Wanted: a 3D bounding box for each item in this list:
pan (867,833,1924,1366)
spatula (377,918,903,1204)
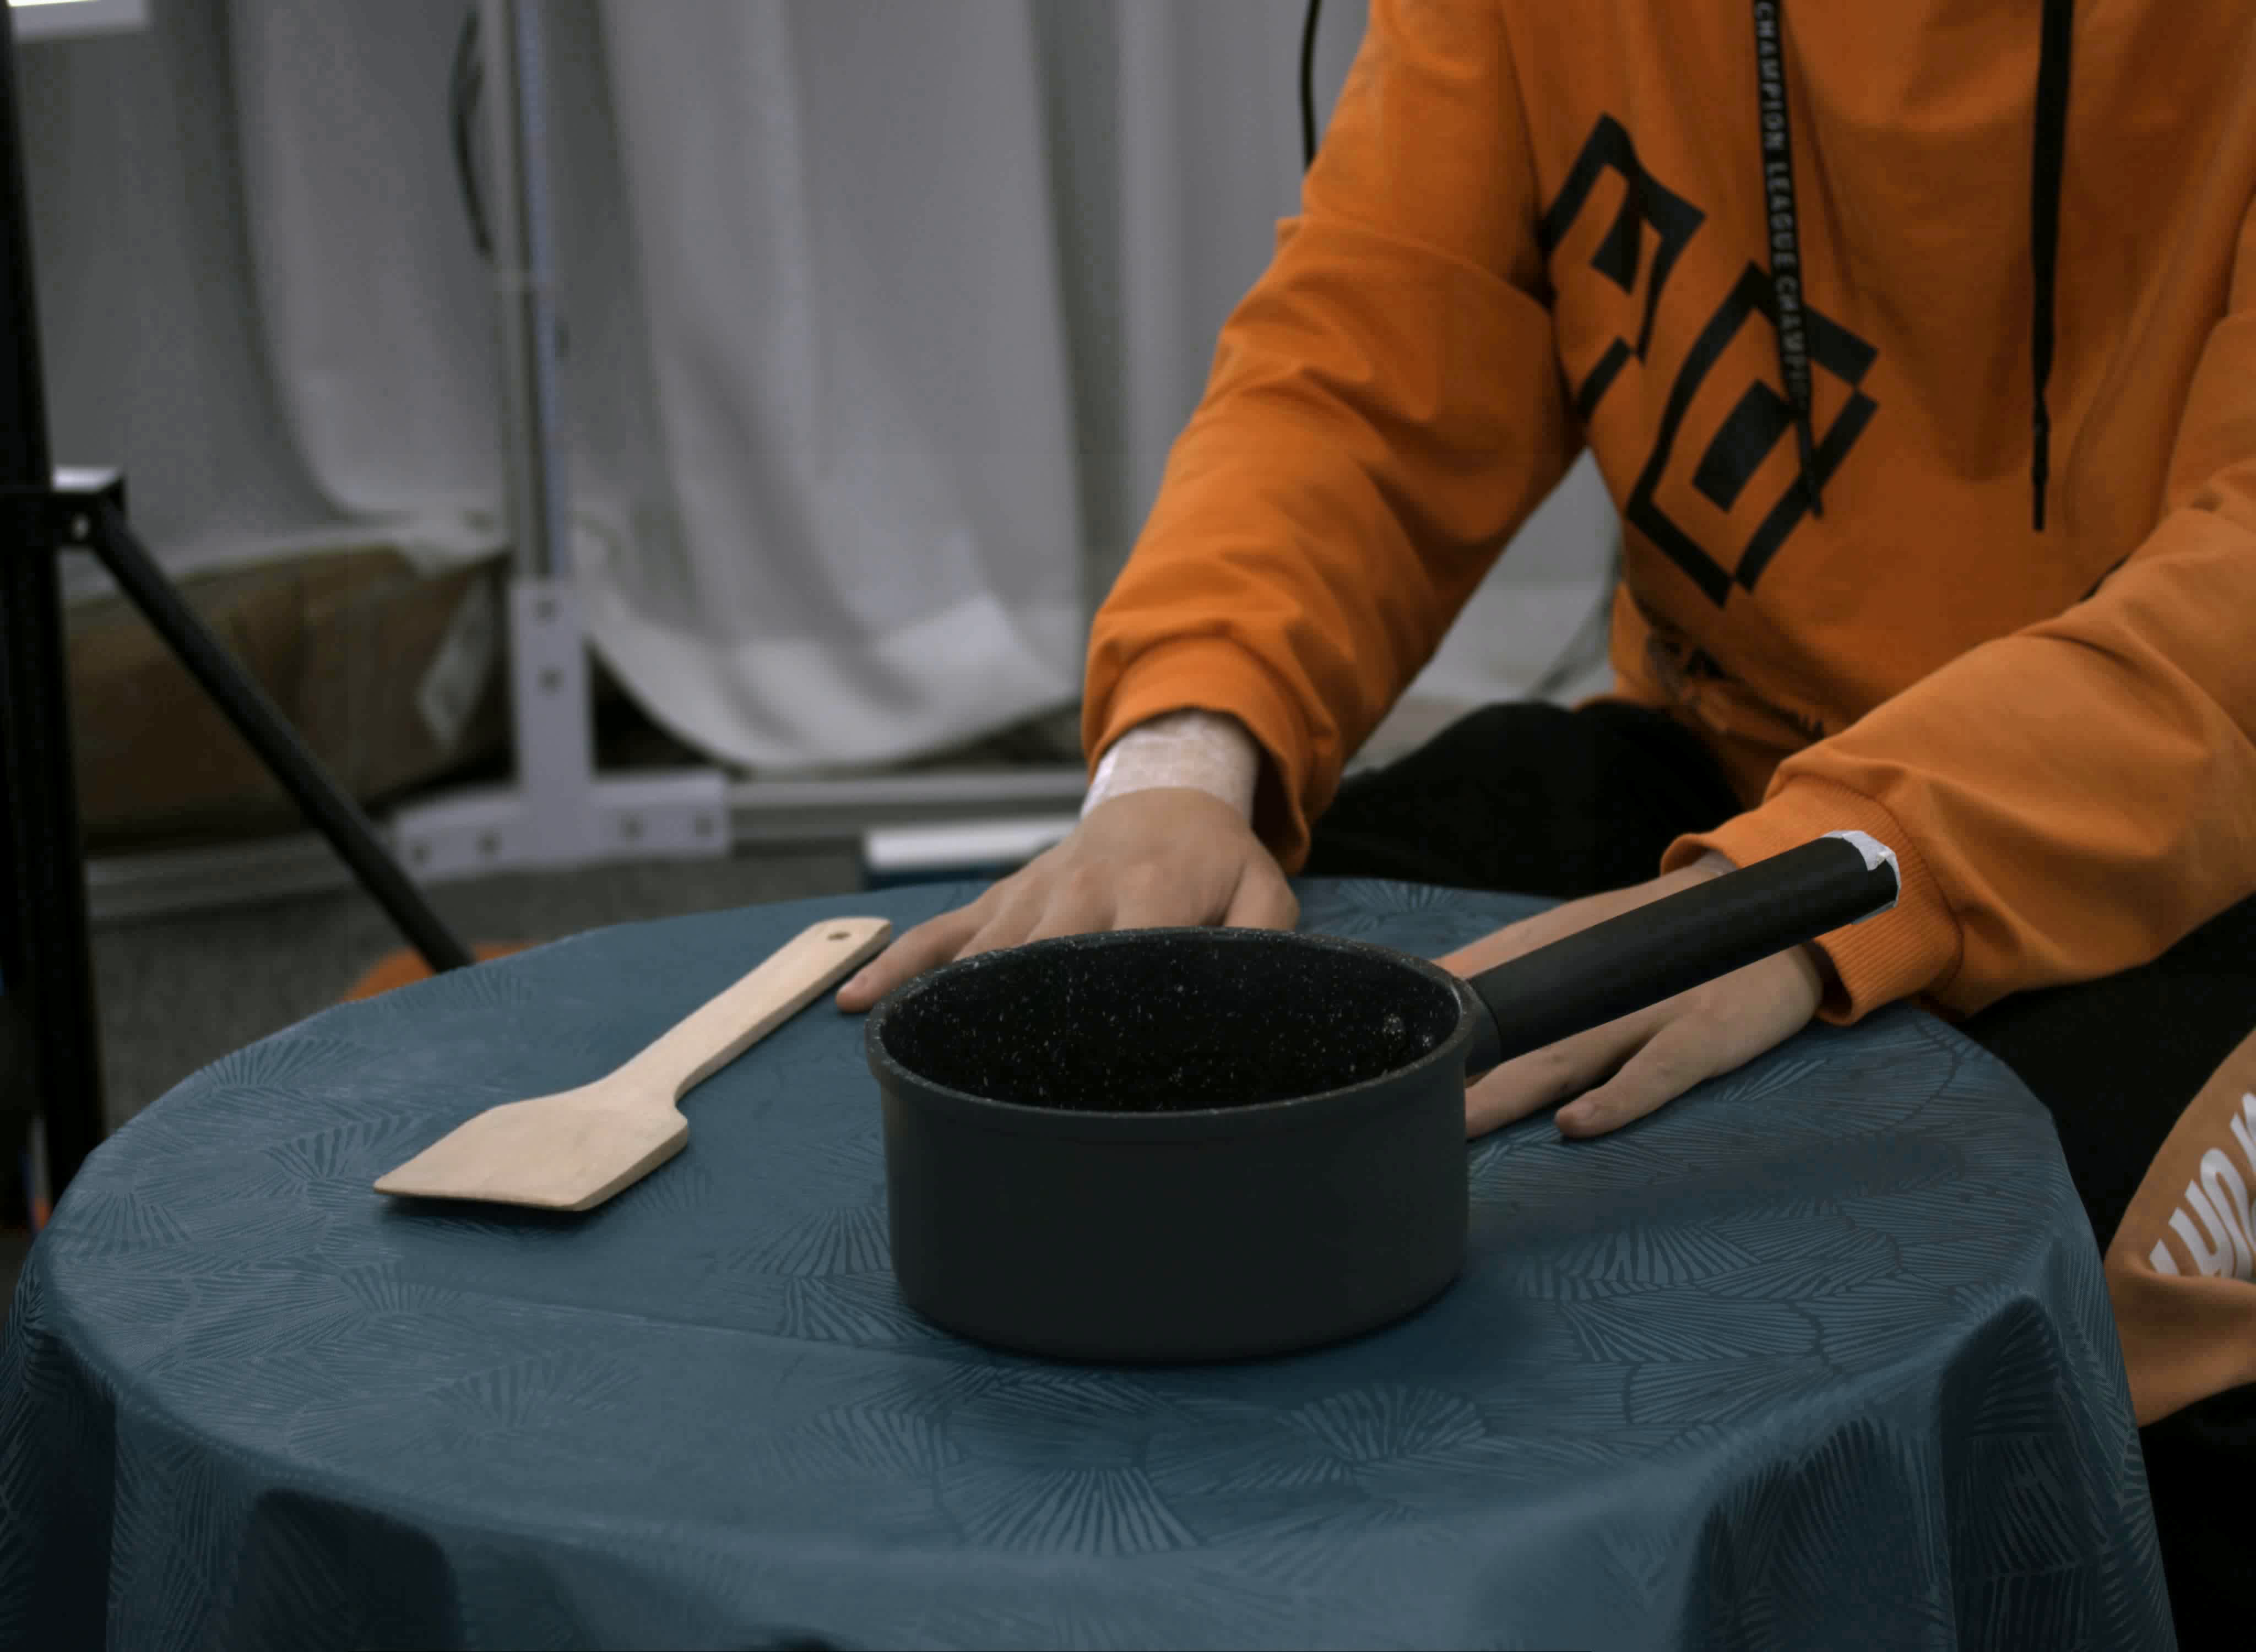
[{"bbox_3d":[0.084,0.073,1.513,0.322,0.086,0.175,-11,18,-23],"label":"pan"},{"bbox_3d":[-0.140,0.072,1.691,0.073,0.010,0.289,0,15,23],"label":"spatula"}]
